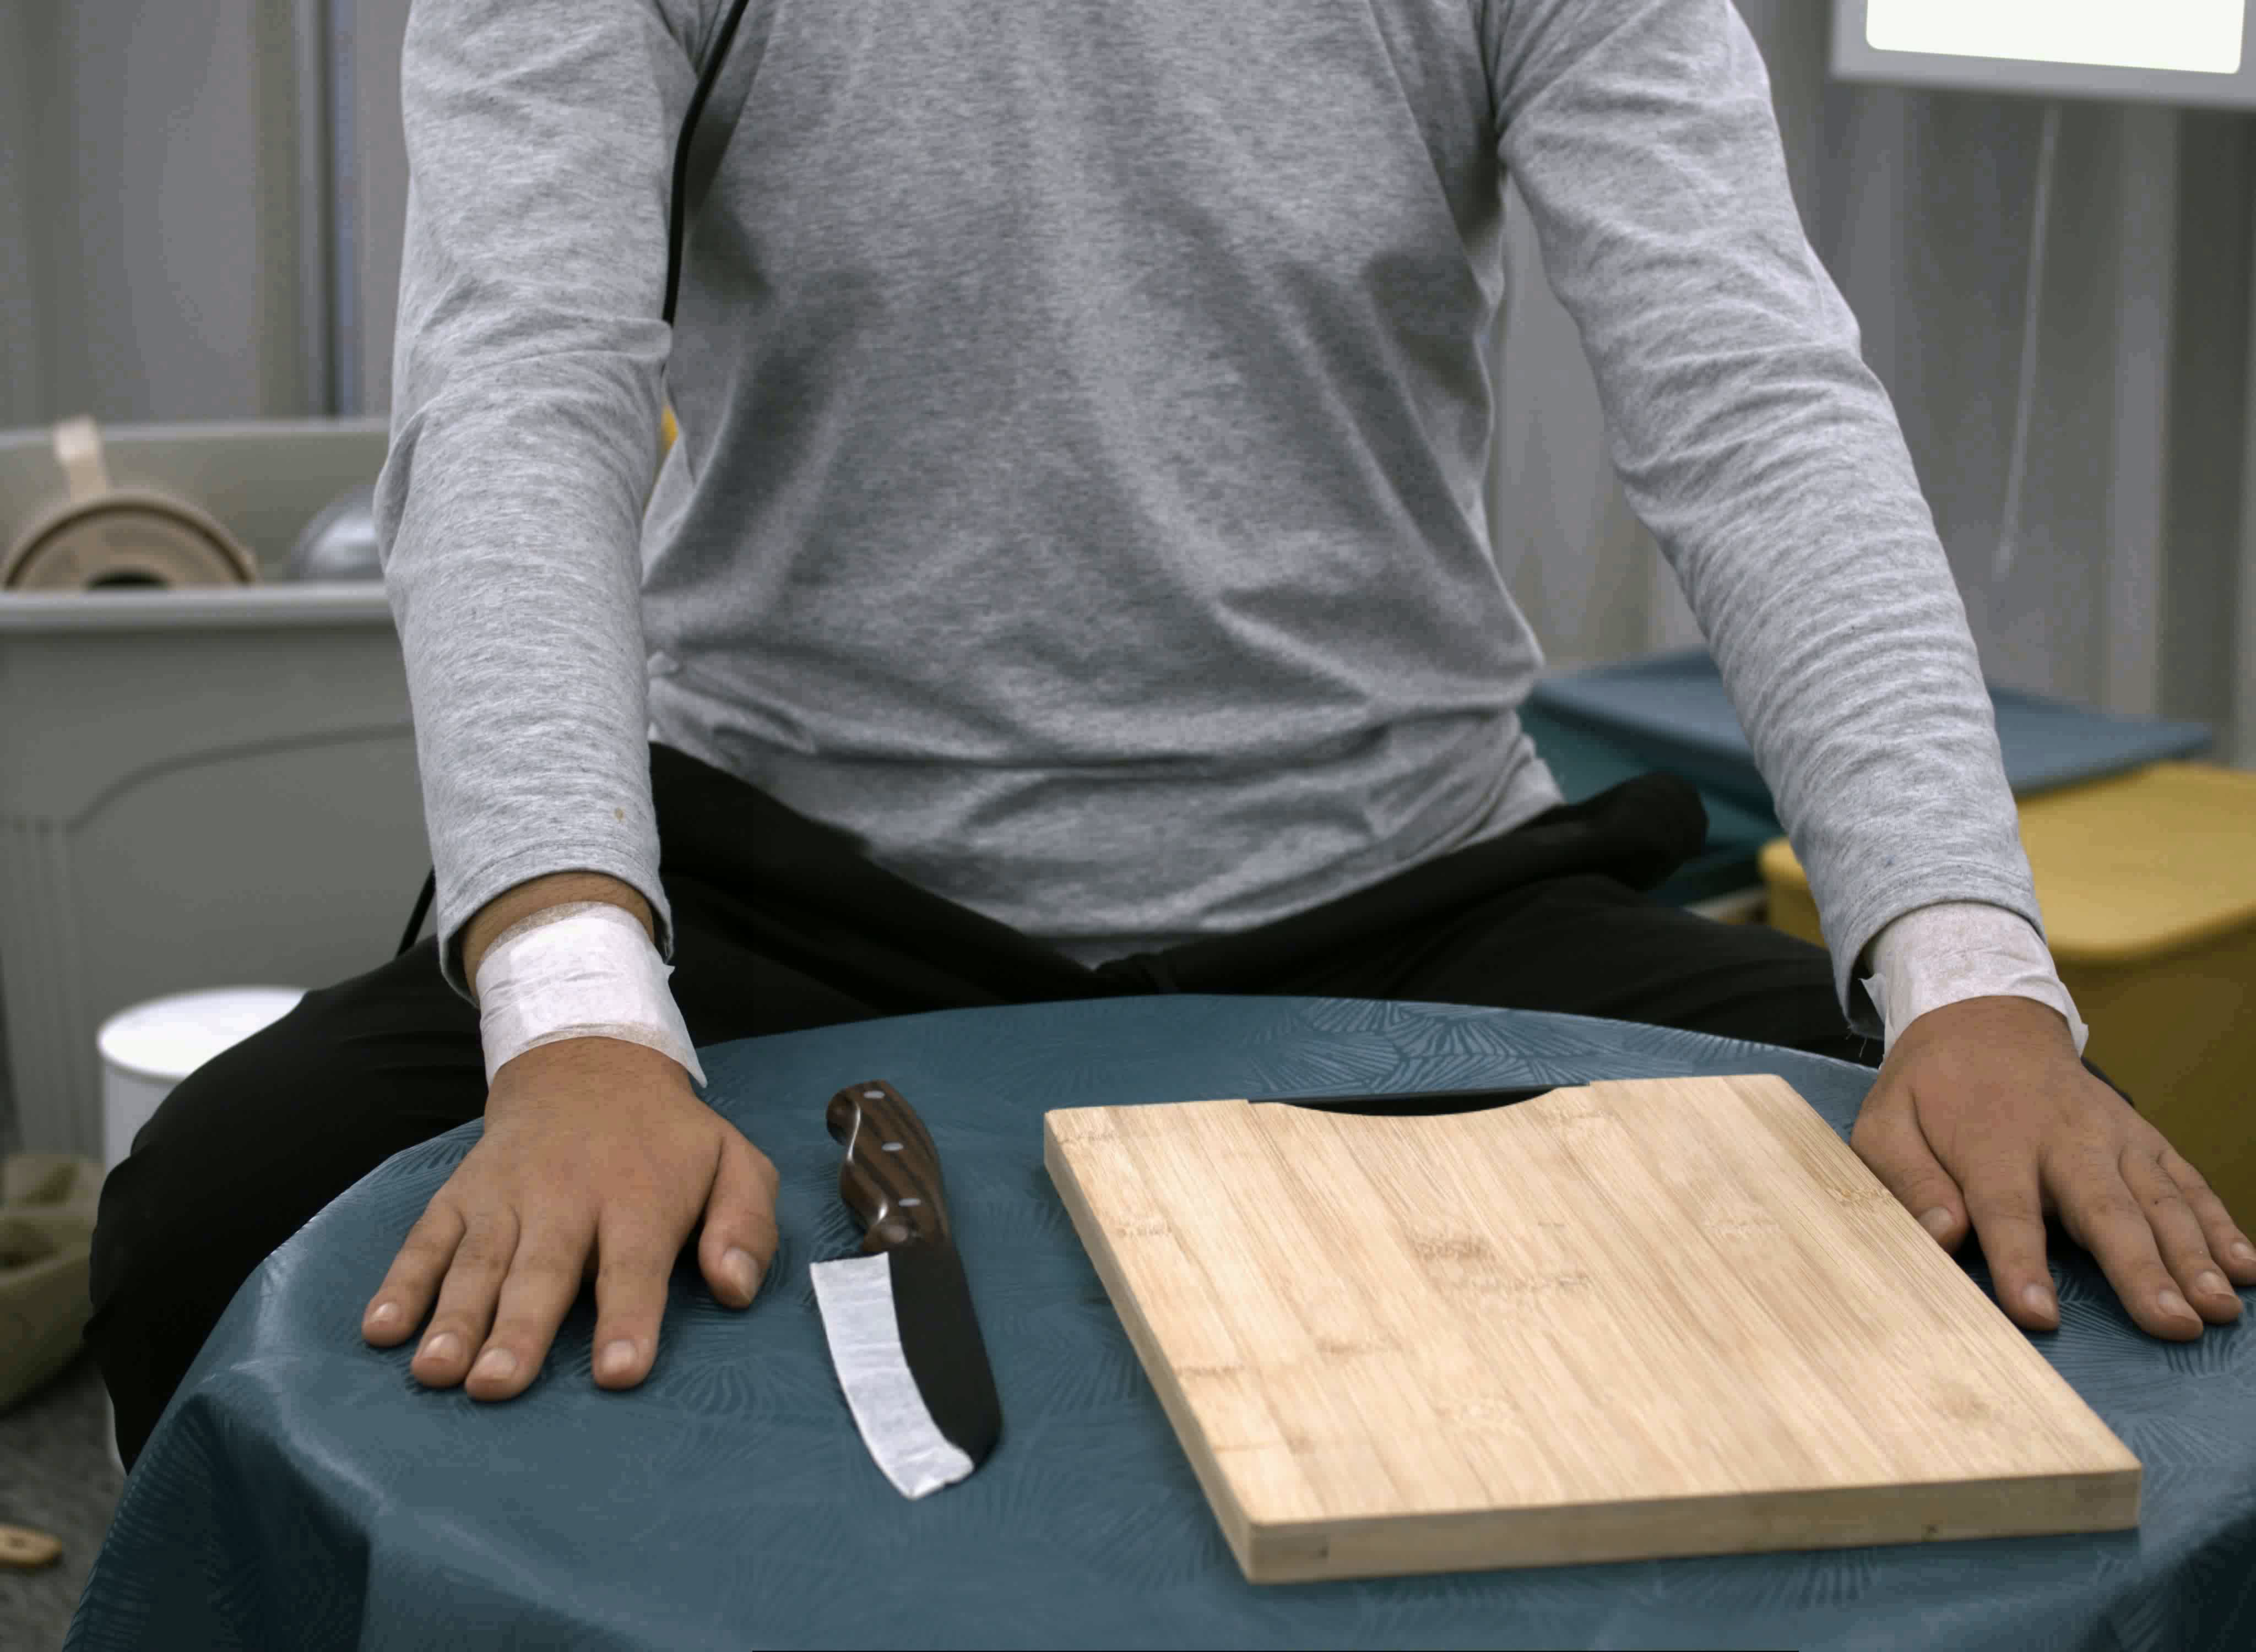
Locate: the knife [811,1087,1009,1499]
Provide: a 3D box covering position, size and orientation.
[{"bbox_3d":[-0.066,0.133,1.520,0.050,0.020,0.287,-6,18,-4],"label":"knife"}]

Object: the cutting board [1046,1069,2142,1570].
[{"bbox_3d":[0.119,0.135,1.516,0.251,0.024,0.345,-2,15,-10],"label":"cutting board"}]
